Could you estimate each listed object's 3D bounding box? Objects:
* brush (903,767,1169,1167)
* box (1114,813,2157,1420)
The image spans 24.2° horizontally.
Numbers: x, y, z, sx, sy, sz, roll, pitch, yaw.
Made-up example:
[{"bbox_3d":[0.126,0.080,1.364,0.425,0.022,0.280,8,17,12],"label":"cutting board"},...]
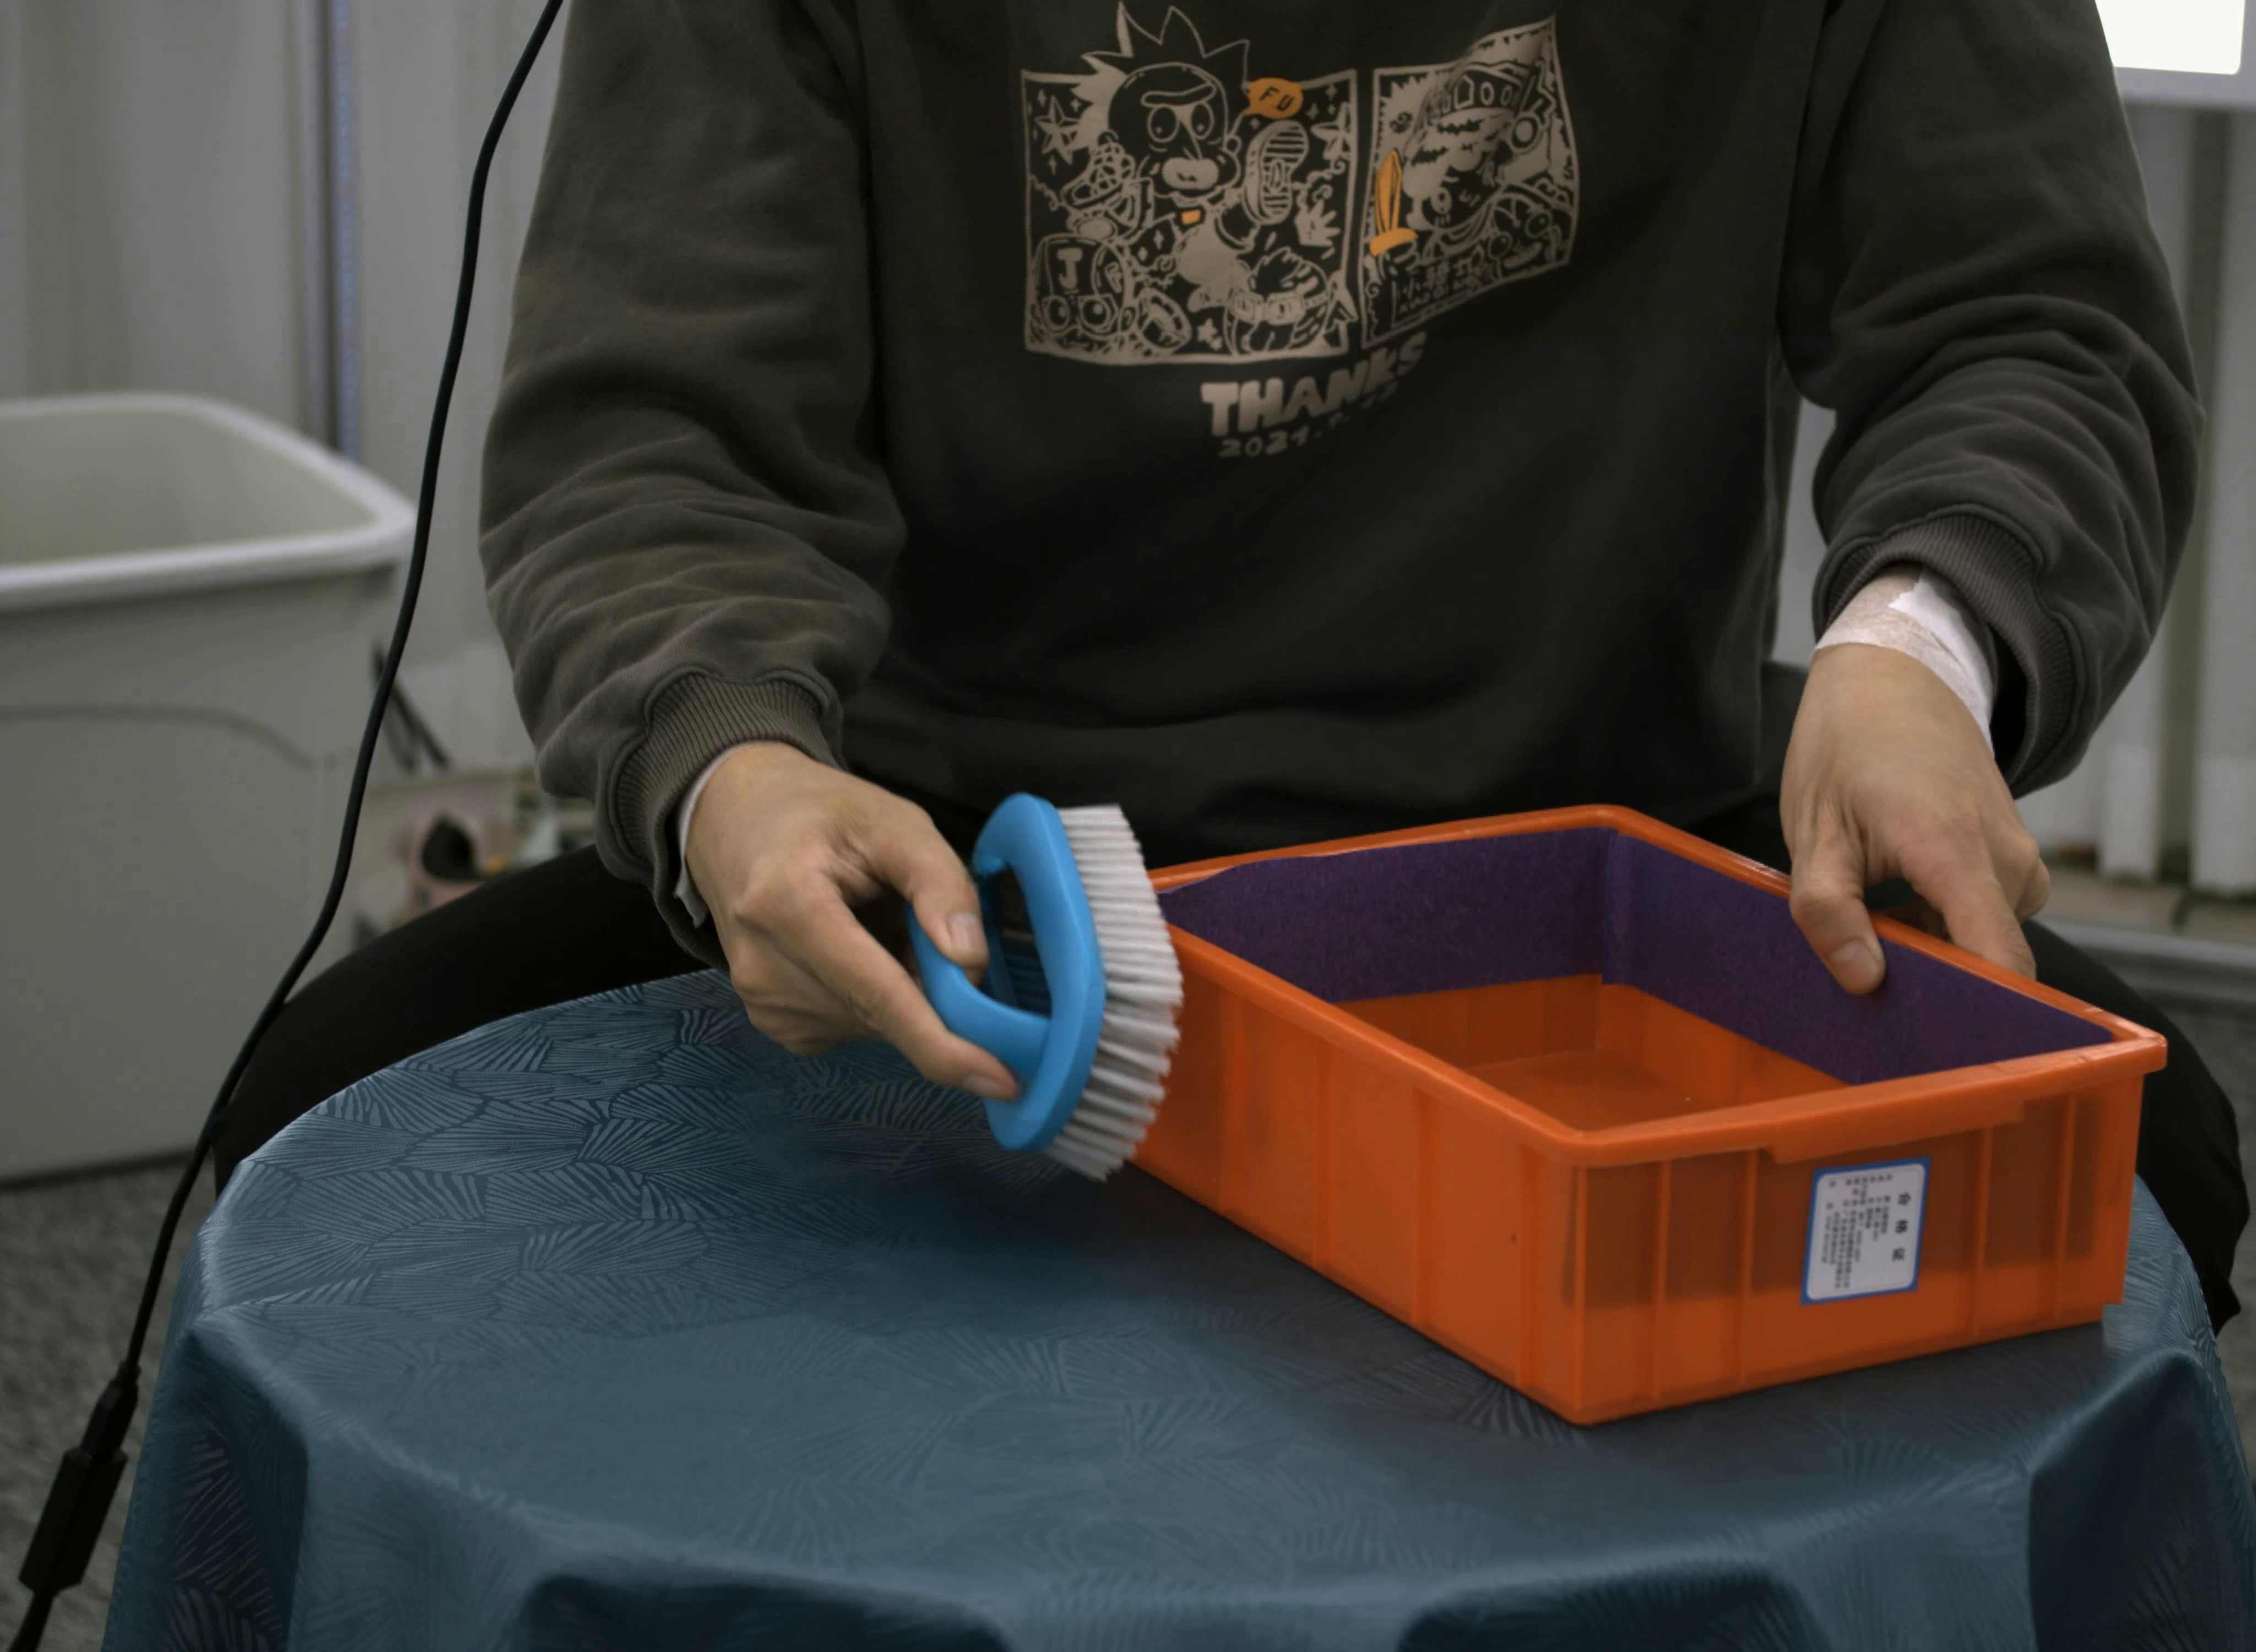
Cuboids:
[{"bbox_3d":[-0.034,0.041,1.596,0.064,0.085,0.140,11,35,-19],"label":"brush"},{"bbox_3d":[0.138,0.082,1.585,0.207,0.097,0.300,-8,18,-28],"label":"box"}]
